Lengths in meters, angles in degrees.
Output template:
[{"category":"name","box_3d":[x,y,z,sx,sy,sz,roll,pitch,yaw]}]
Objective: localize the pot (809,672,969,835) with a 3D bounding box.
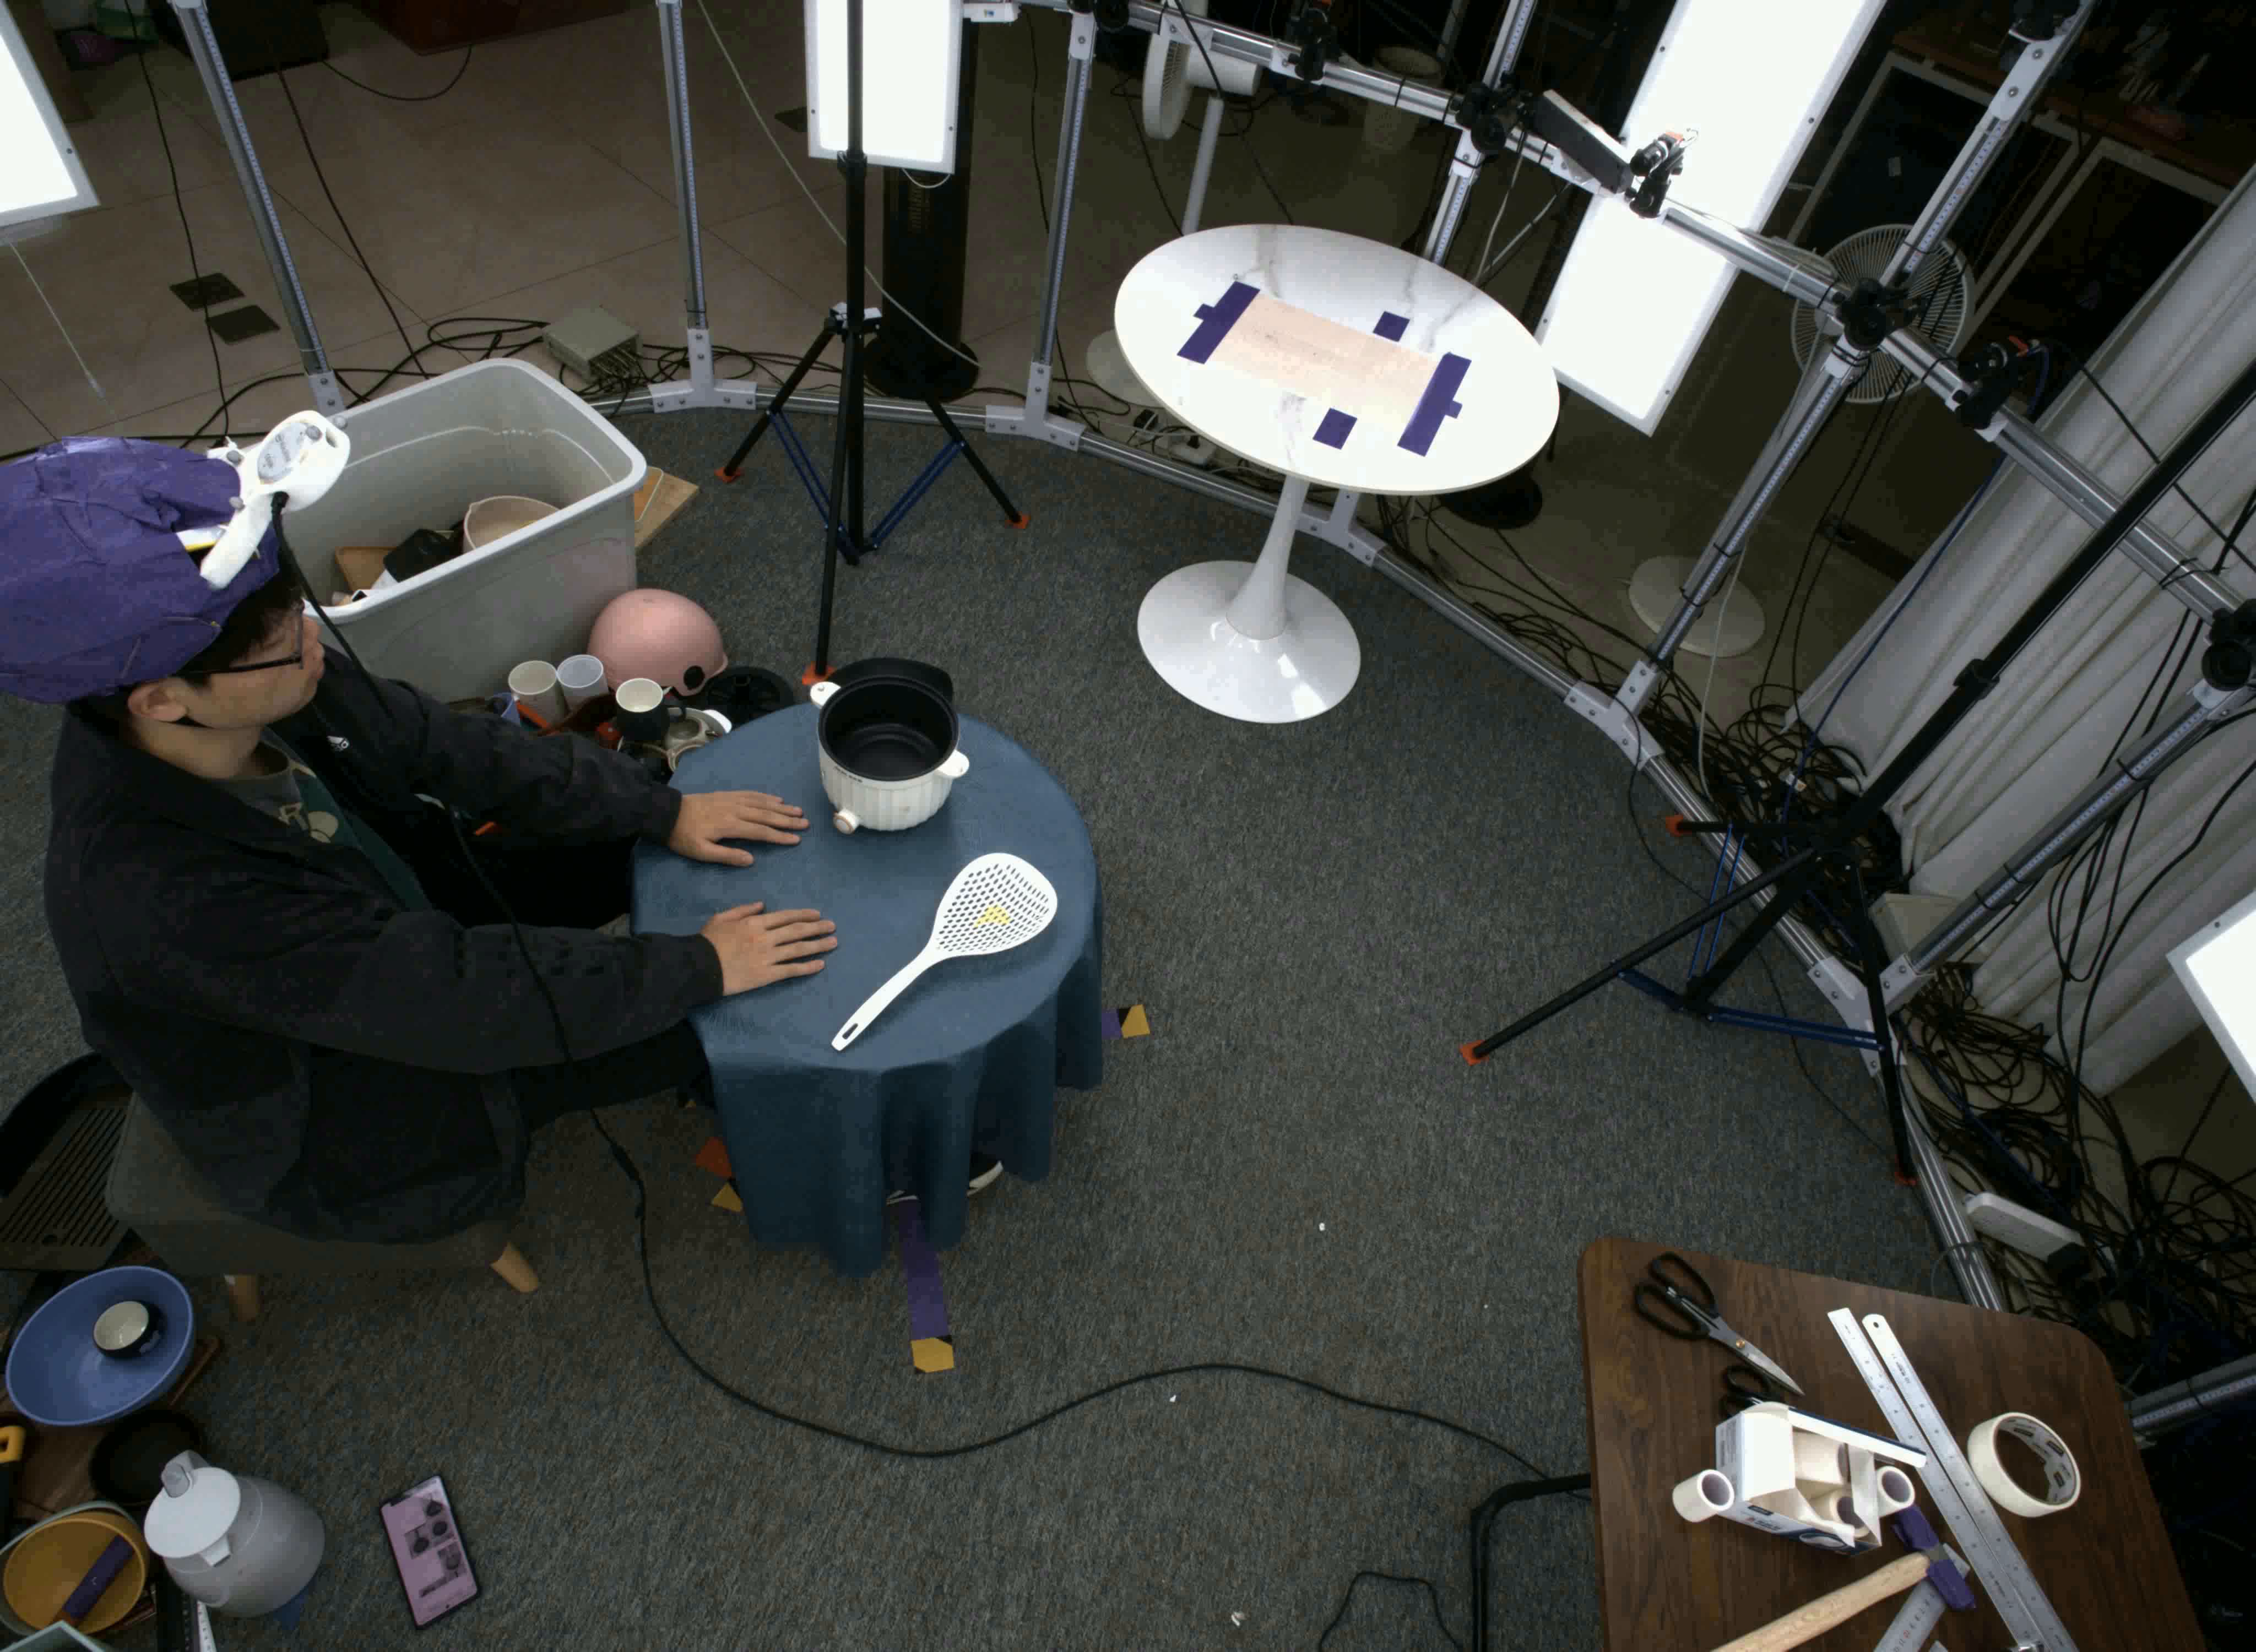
[{"category":"pot","box_3d":[-0.321,-0.086,1.725,0.236,0.146,0.190,27,50,10]}]

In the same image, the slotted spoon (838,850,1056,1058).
[{"category":"slotted spoon","box_3d":[-0.234,0.159,1.626,0.134,0.051,0.348,40,55,14]}]
